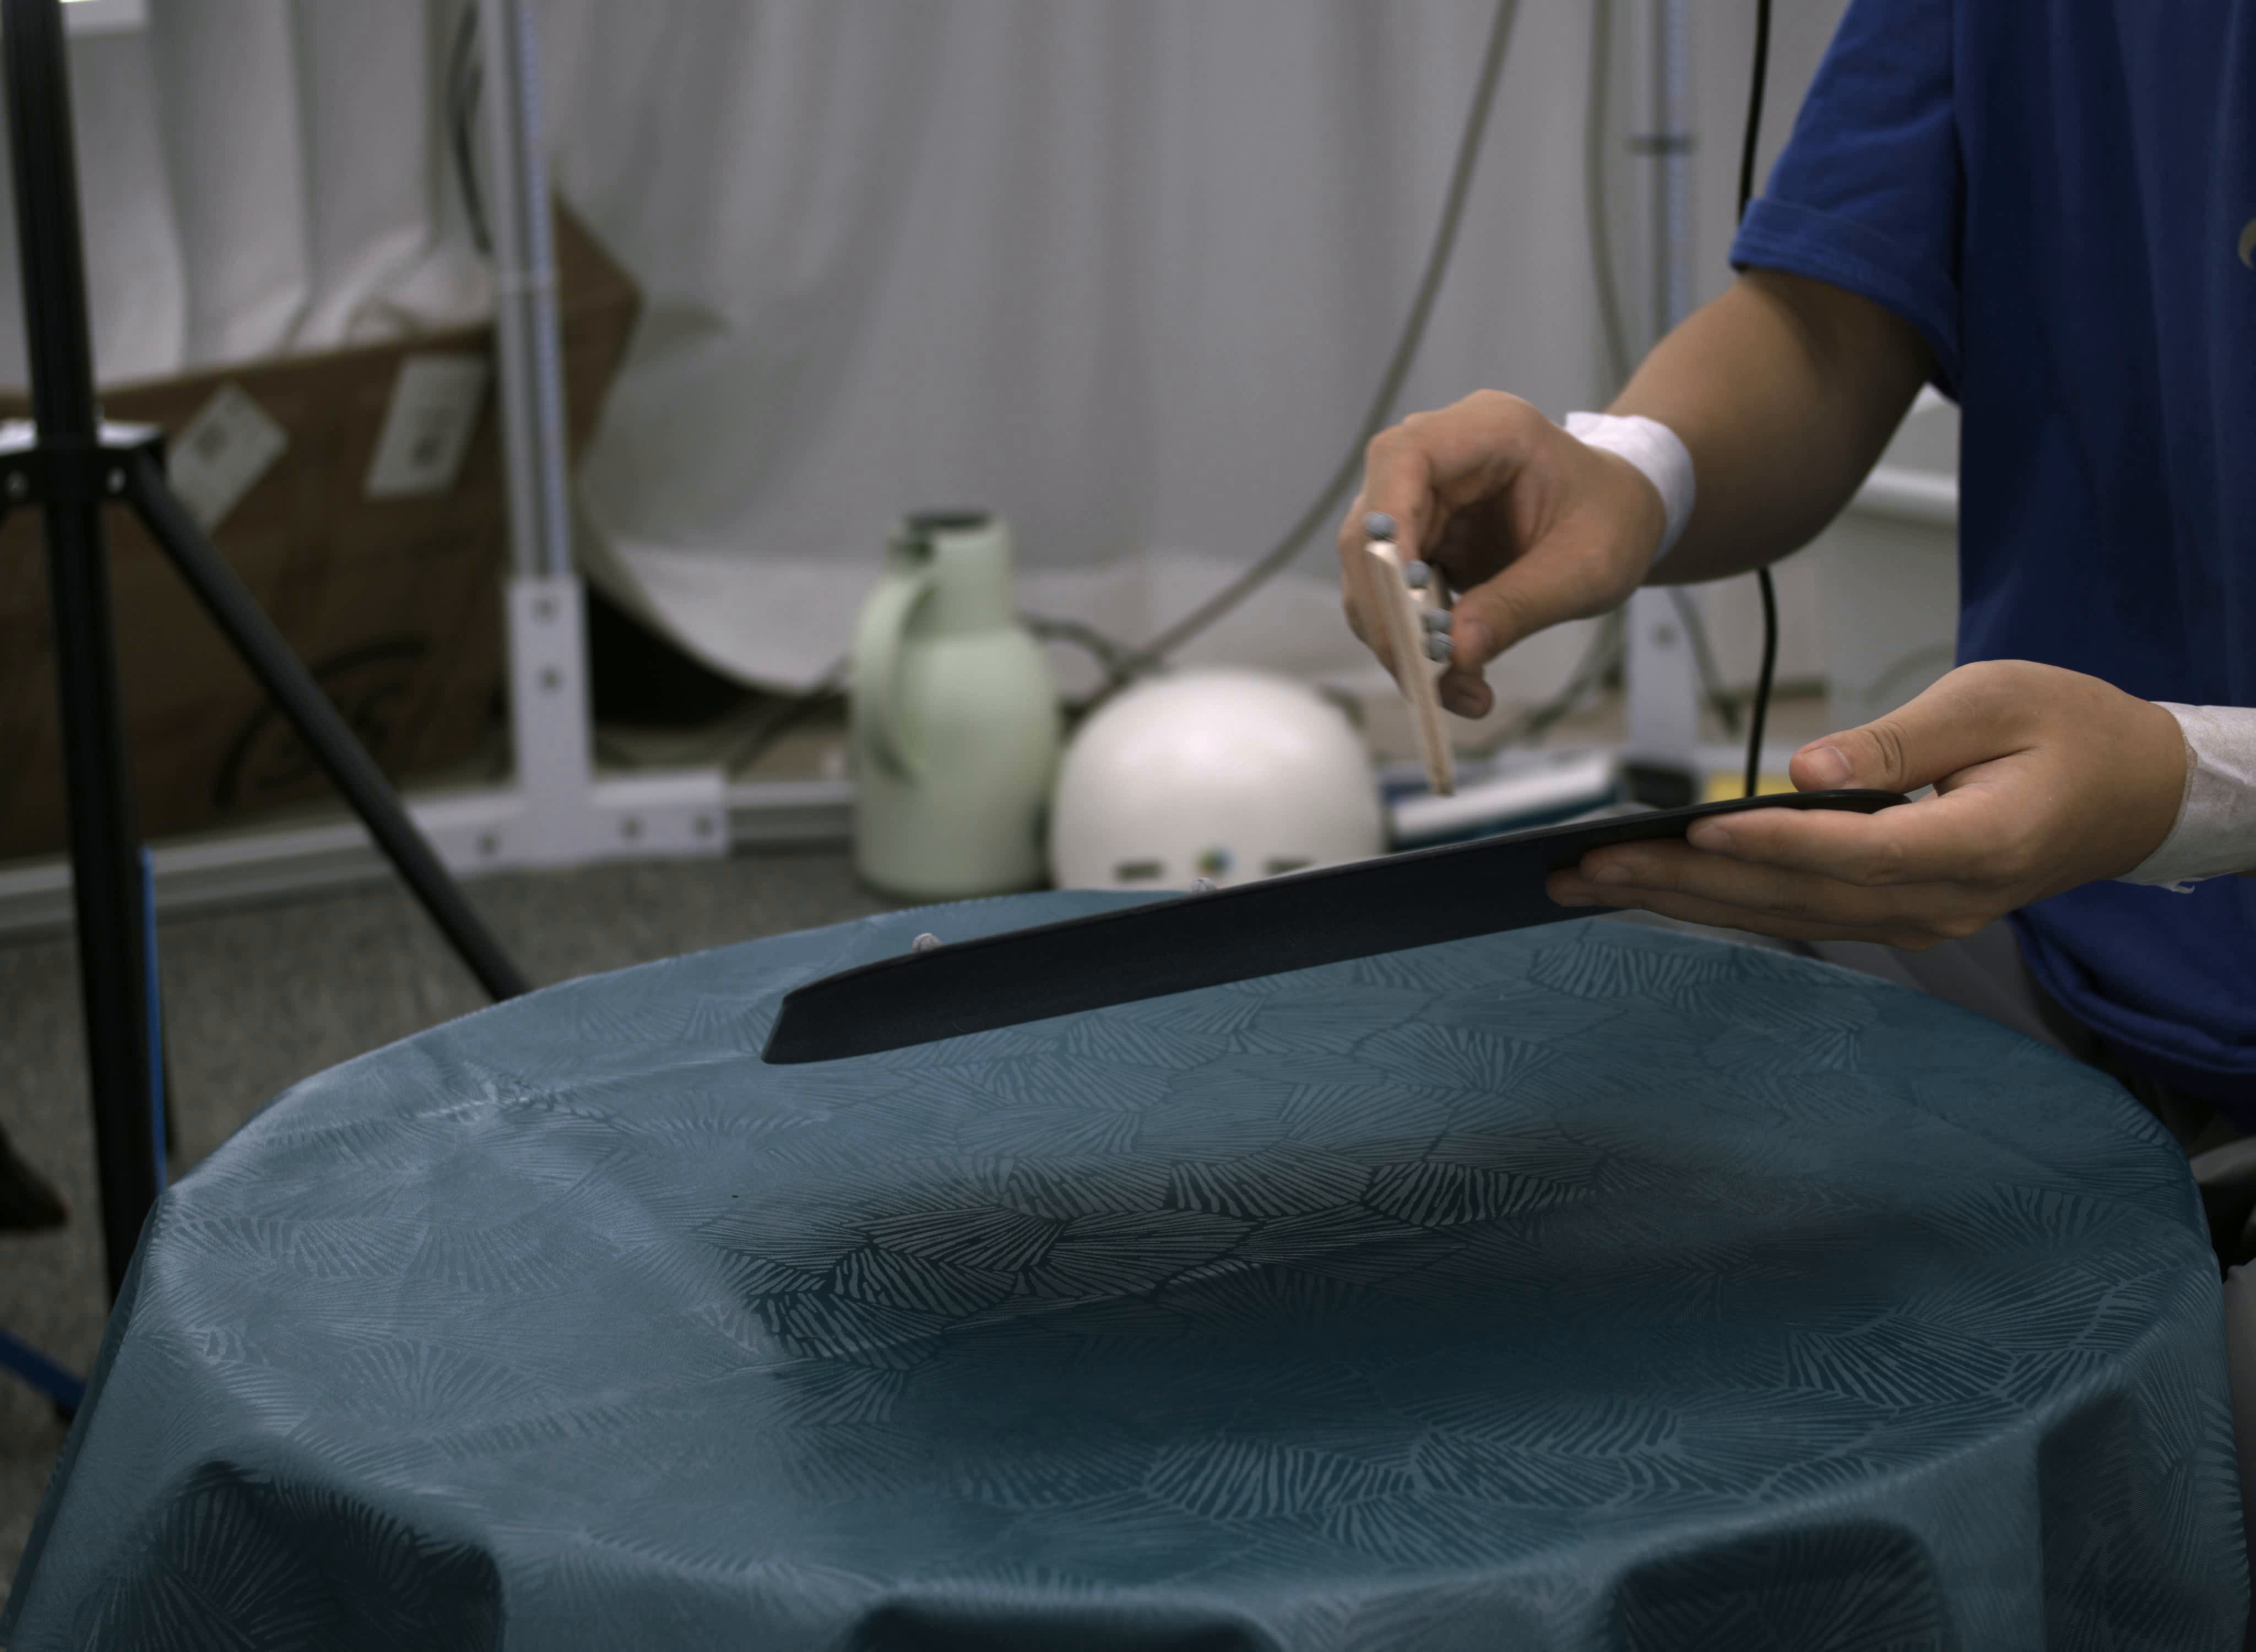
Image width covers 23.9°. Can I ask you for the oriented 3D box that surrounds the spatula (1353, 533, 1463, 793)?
[{"bbox_3d":[0.086,-0.058,1.590,0.010,0.072,0.291,-15,4,8],"label":"spatula"}]

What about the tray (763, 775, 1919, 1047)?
[{"bbox_3d":[0.059,0.024,1.481,0.322,0.010,0.211,-10,-8,-6],"label":"tray"}]
